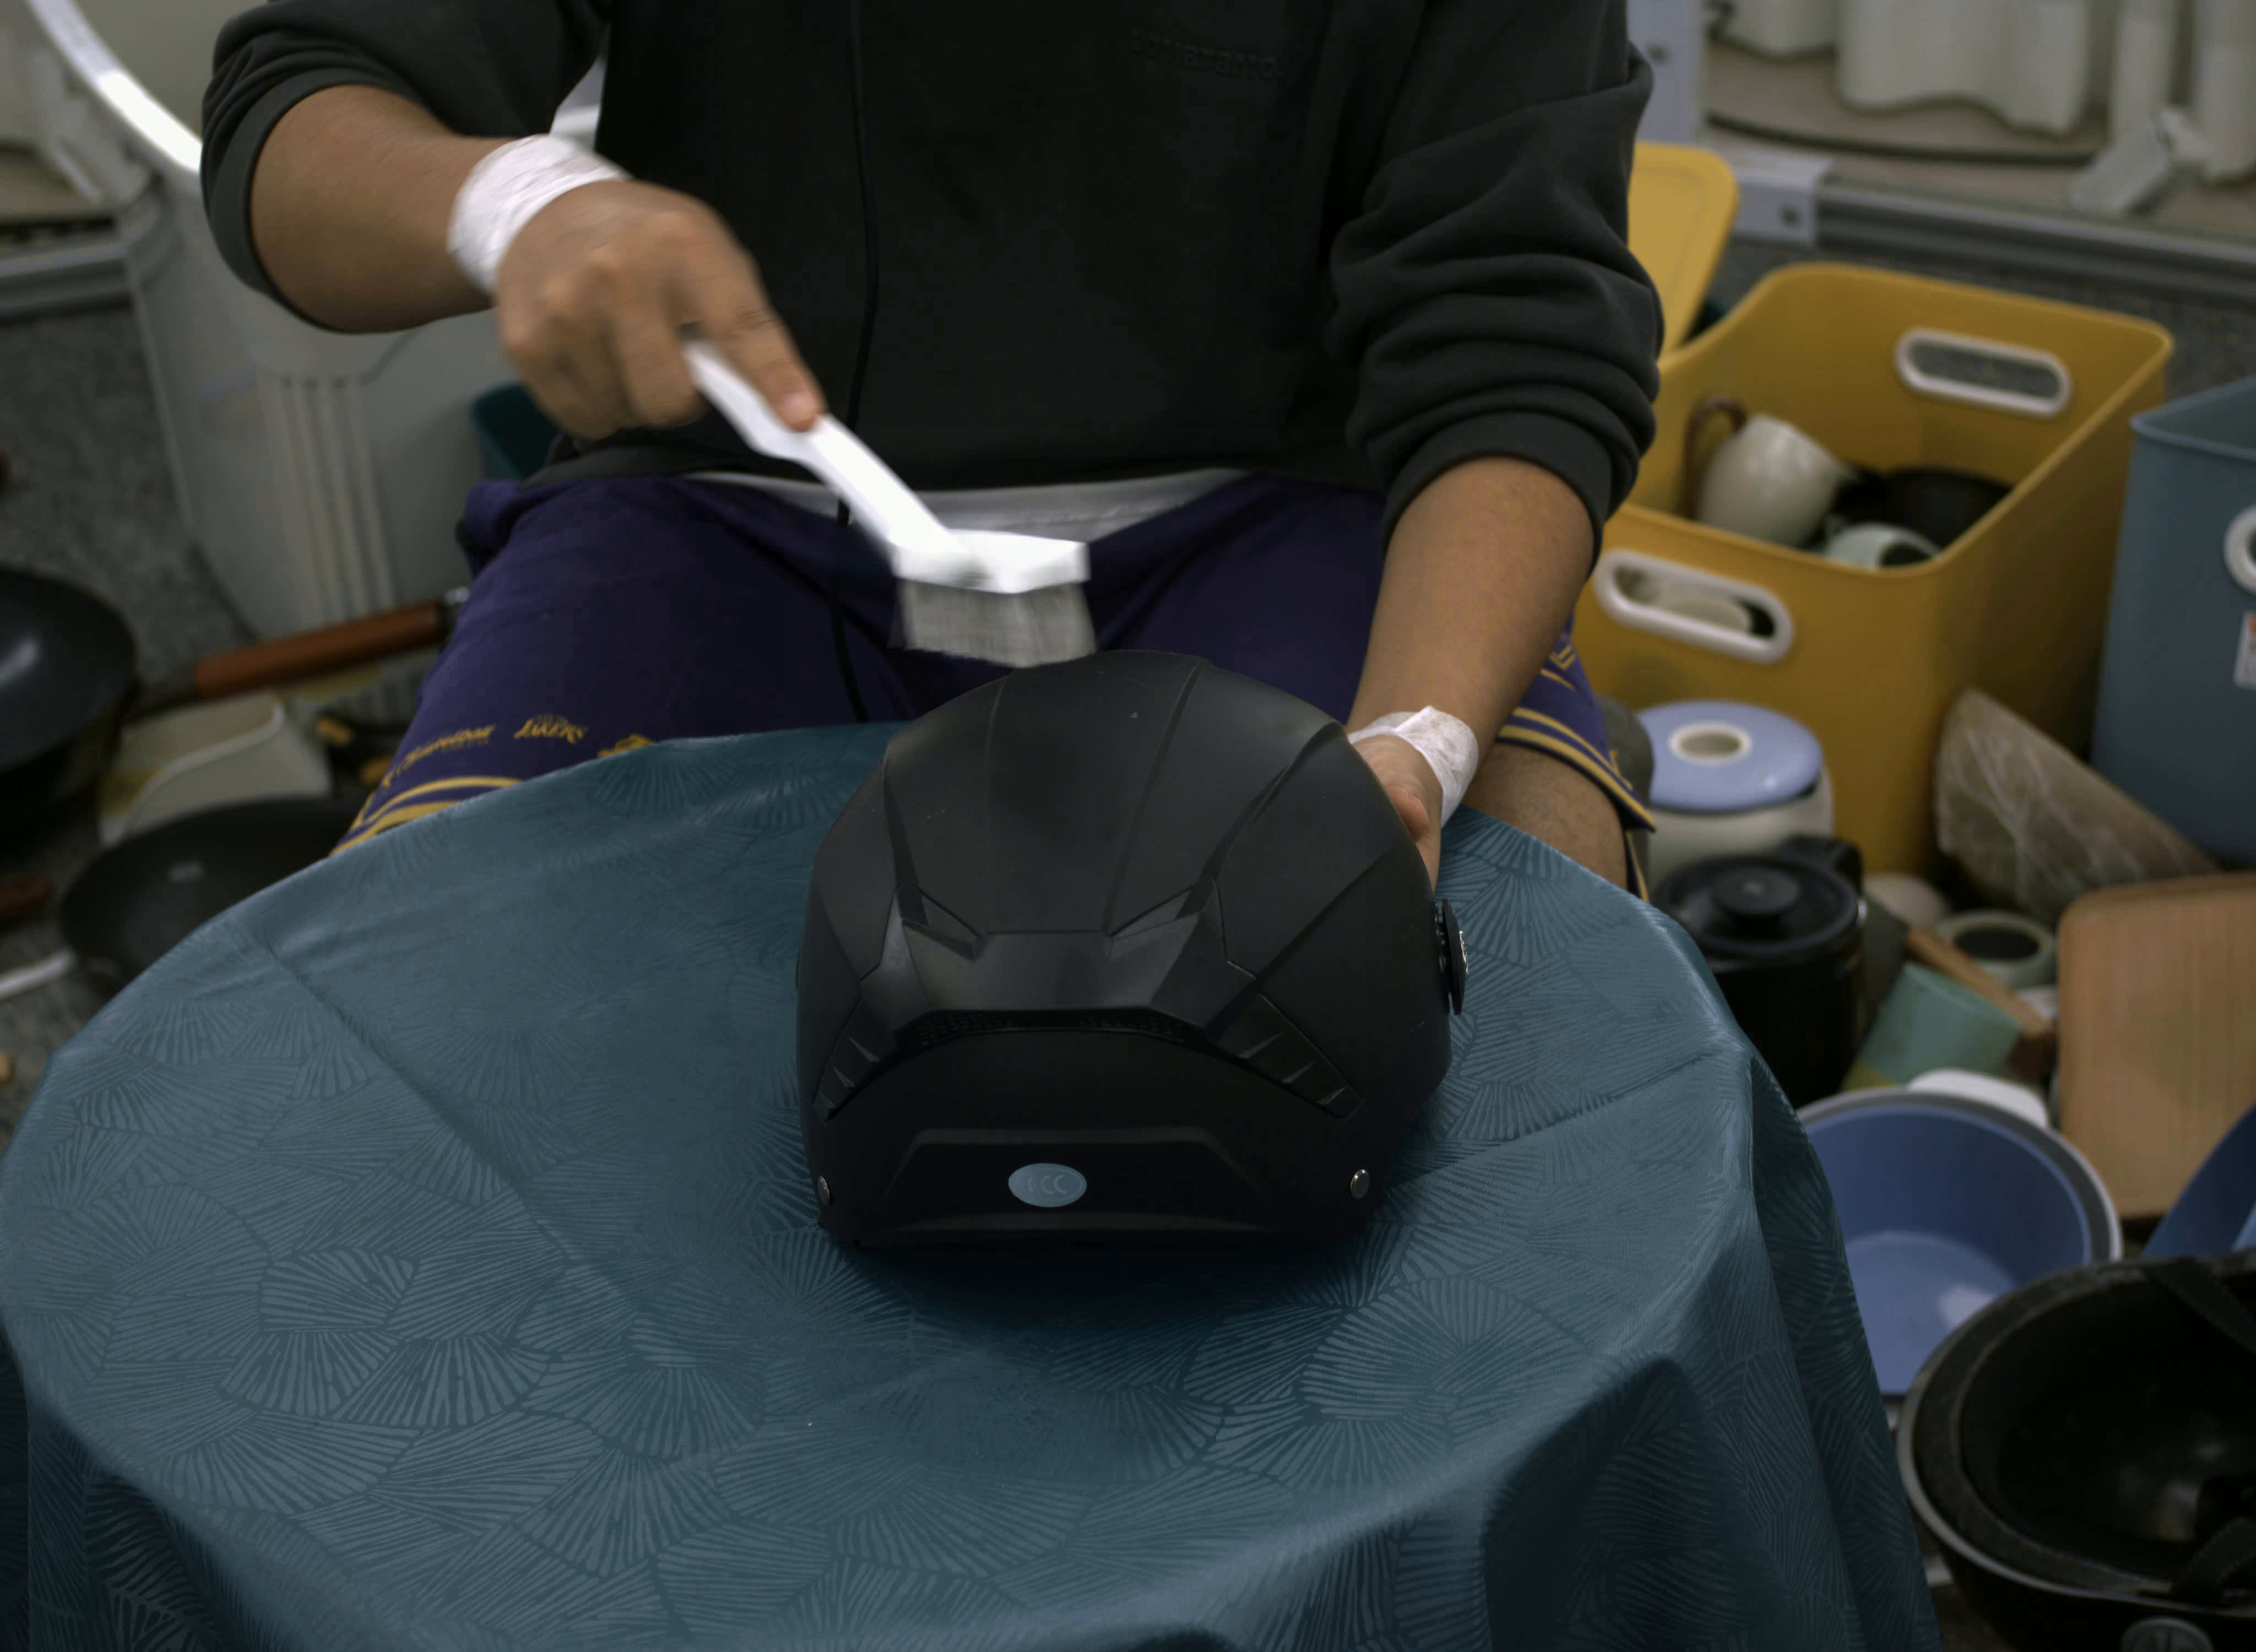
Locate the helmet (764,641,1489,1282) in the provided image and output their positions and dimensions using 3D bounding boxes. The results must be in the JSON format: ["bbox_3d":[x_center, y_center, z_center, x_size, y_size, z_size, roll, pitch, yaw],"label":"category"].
[{"bbox_3d":[-0.003,0.028,1.864,0.245,0.170,0.282,0,31,11],"label":"helmet"}]

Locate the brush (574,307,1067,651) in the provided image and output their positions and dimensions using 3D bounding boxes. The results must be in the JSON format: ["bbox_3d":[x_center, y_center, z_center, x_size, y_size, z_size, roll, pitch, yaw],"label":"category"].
[{"bbox_3d":[-0.105,-0.110,1.831,0.034,0.050,0.244,-15,32,-39],"label":"brush"}]
